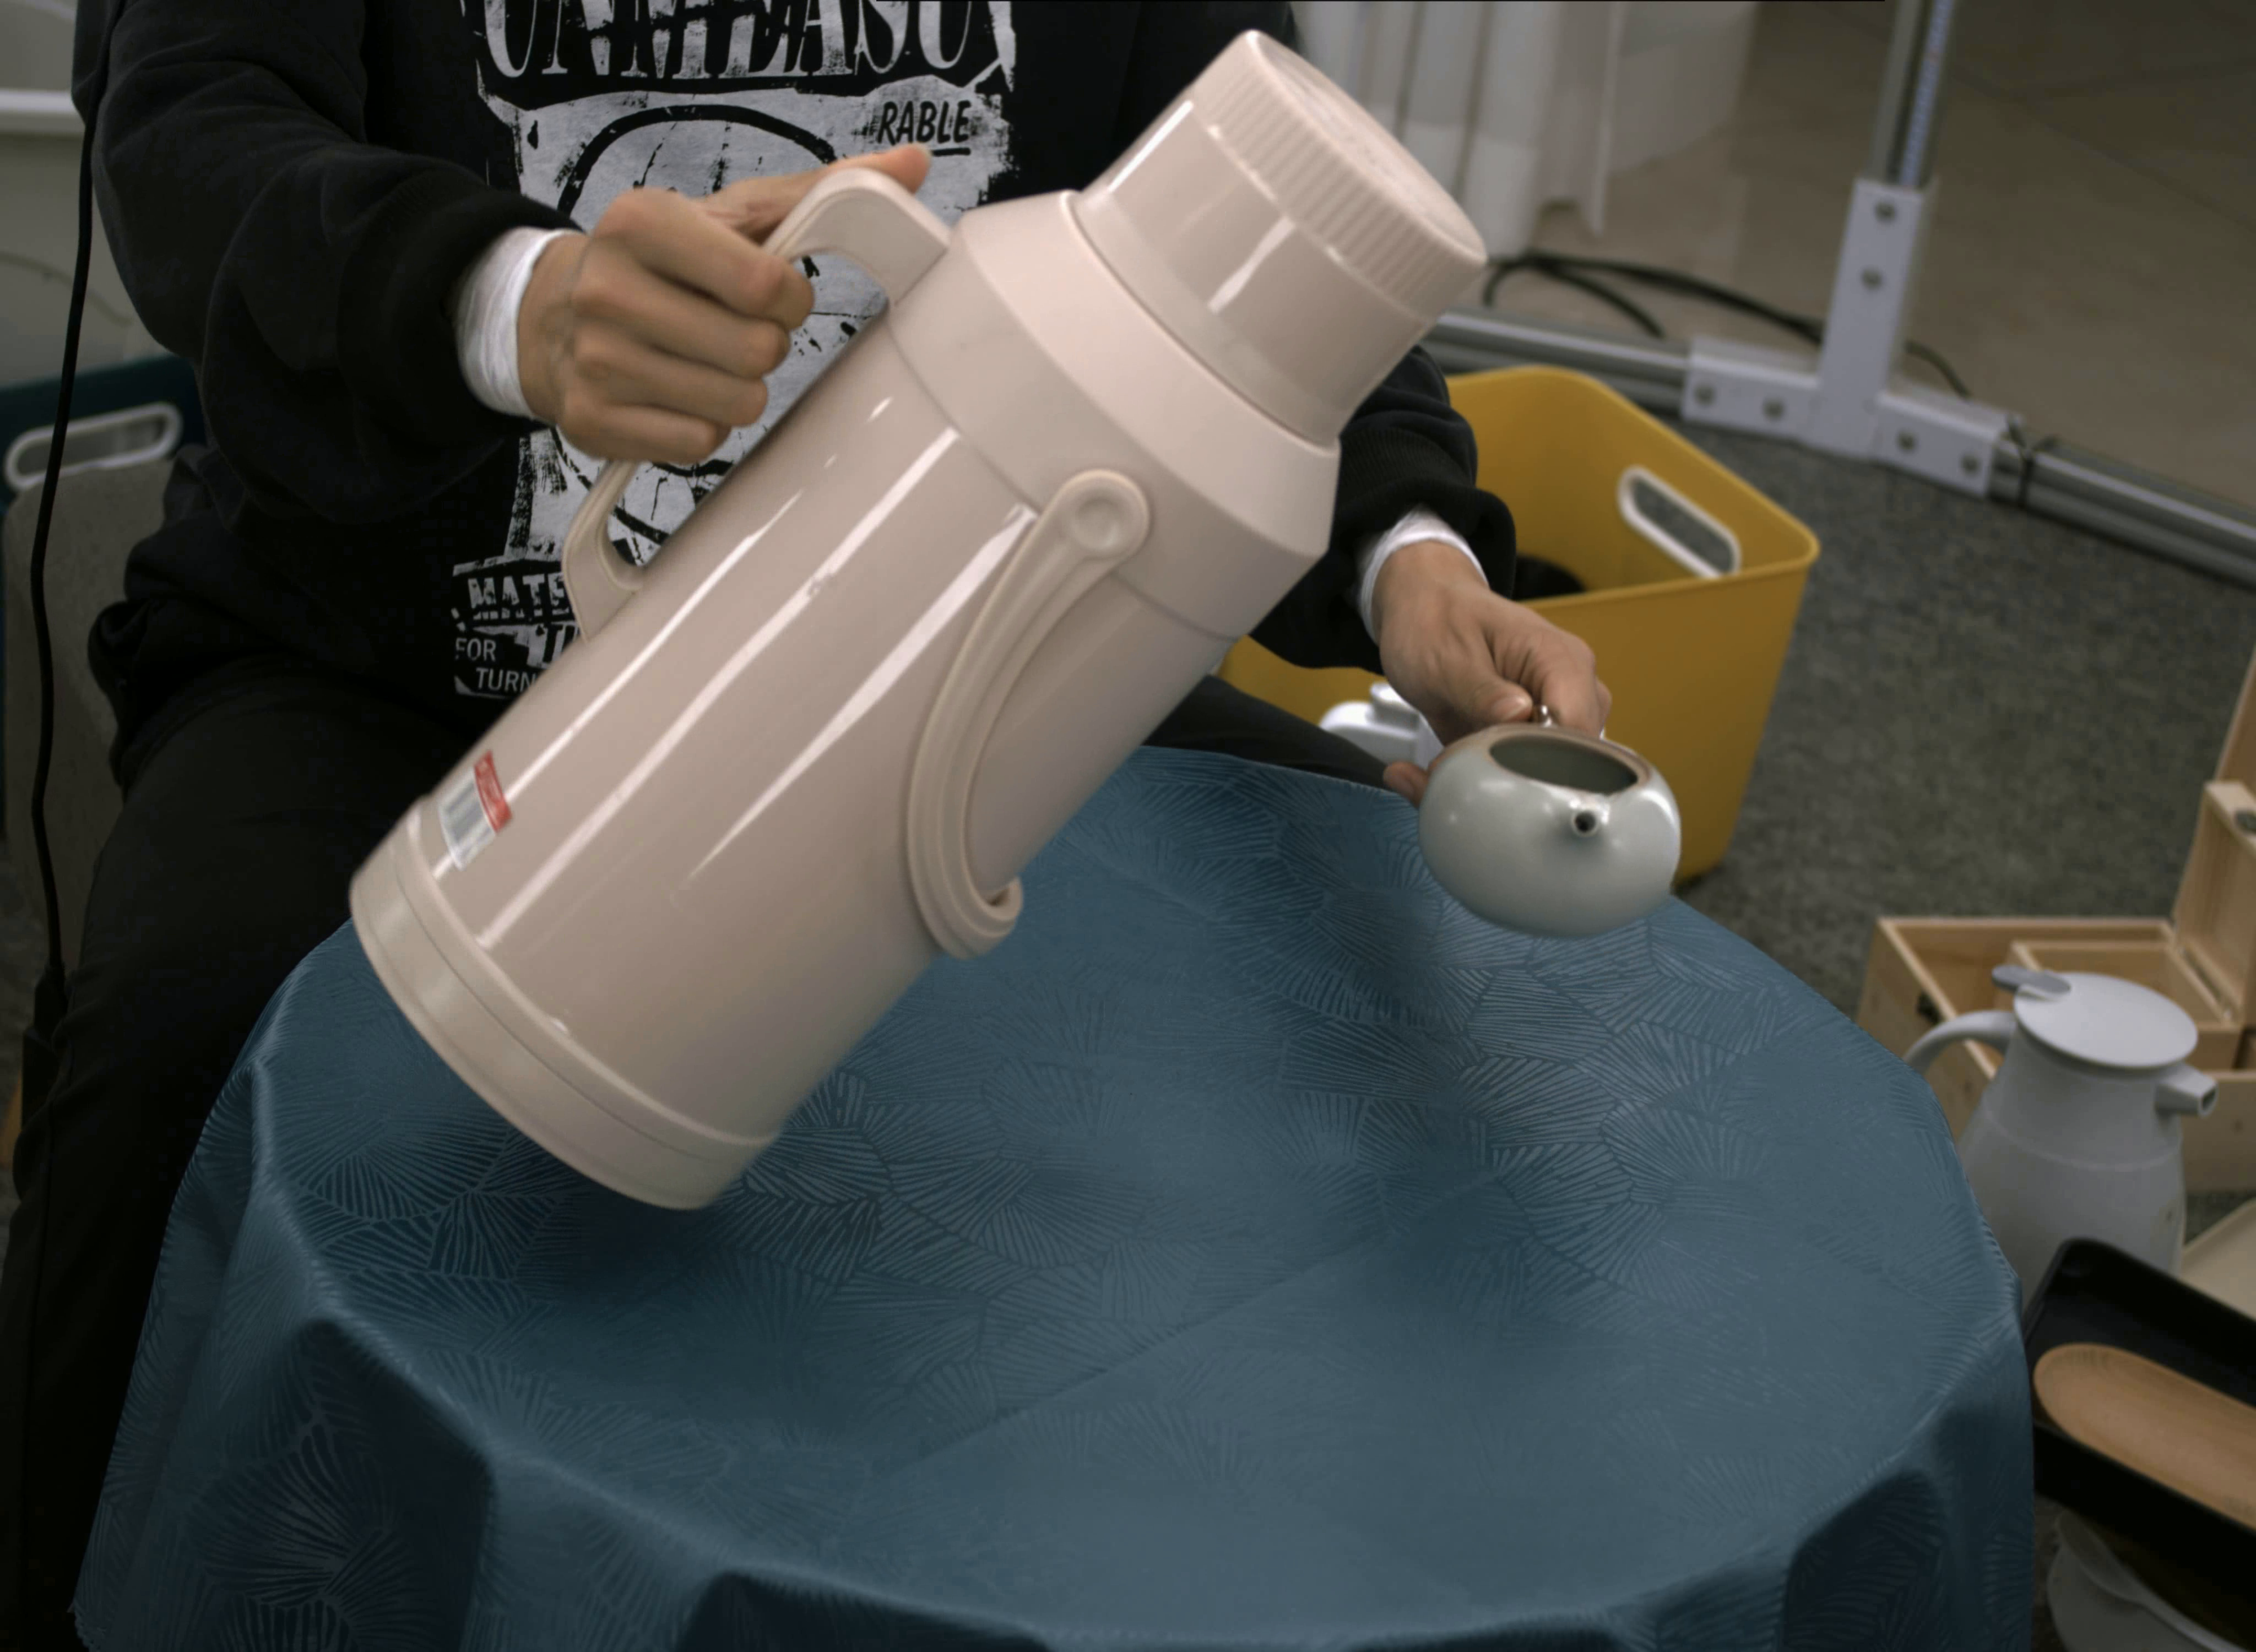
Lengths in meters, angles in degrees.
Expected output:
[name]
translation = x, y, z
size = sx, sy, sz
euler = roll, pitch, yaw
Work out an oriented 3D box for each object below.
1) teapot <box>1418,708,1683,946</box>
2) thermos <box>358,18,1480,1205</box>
[teapot]
translation = 0.145, 0.000, 1.845
size = 0.091, 0.059, 0.129
euler = 4, 22, -7
[thermos]
translation = -0.072, -0.081, 1.688
size = 0.206, 0.406, 0.176
euler = 39, 16, -15
